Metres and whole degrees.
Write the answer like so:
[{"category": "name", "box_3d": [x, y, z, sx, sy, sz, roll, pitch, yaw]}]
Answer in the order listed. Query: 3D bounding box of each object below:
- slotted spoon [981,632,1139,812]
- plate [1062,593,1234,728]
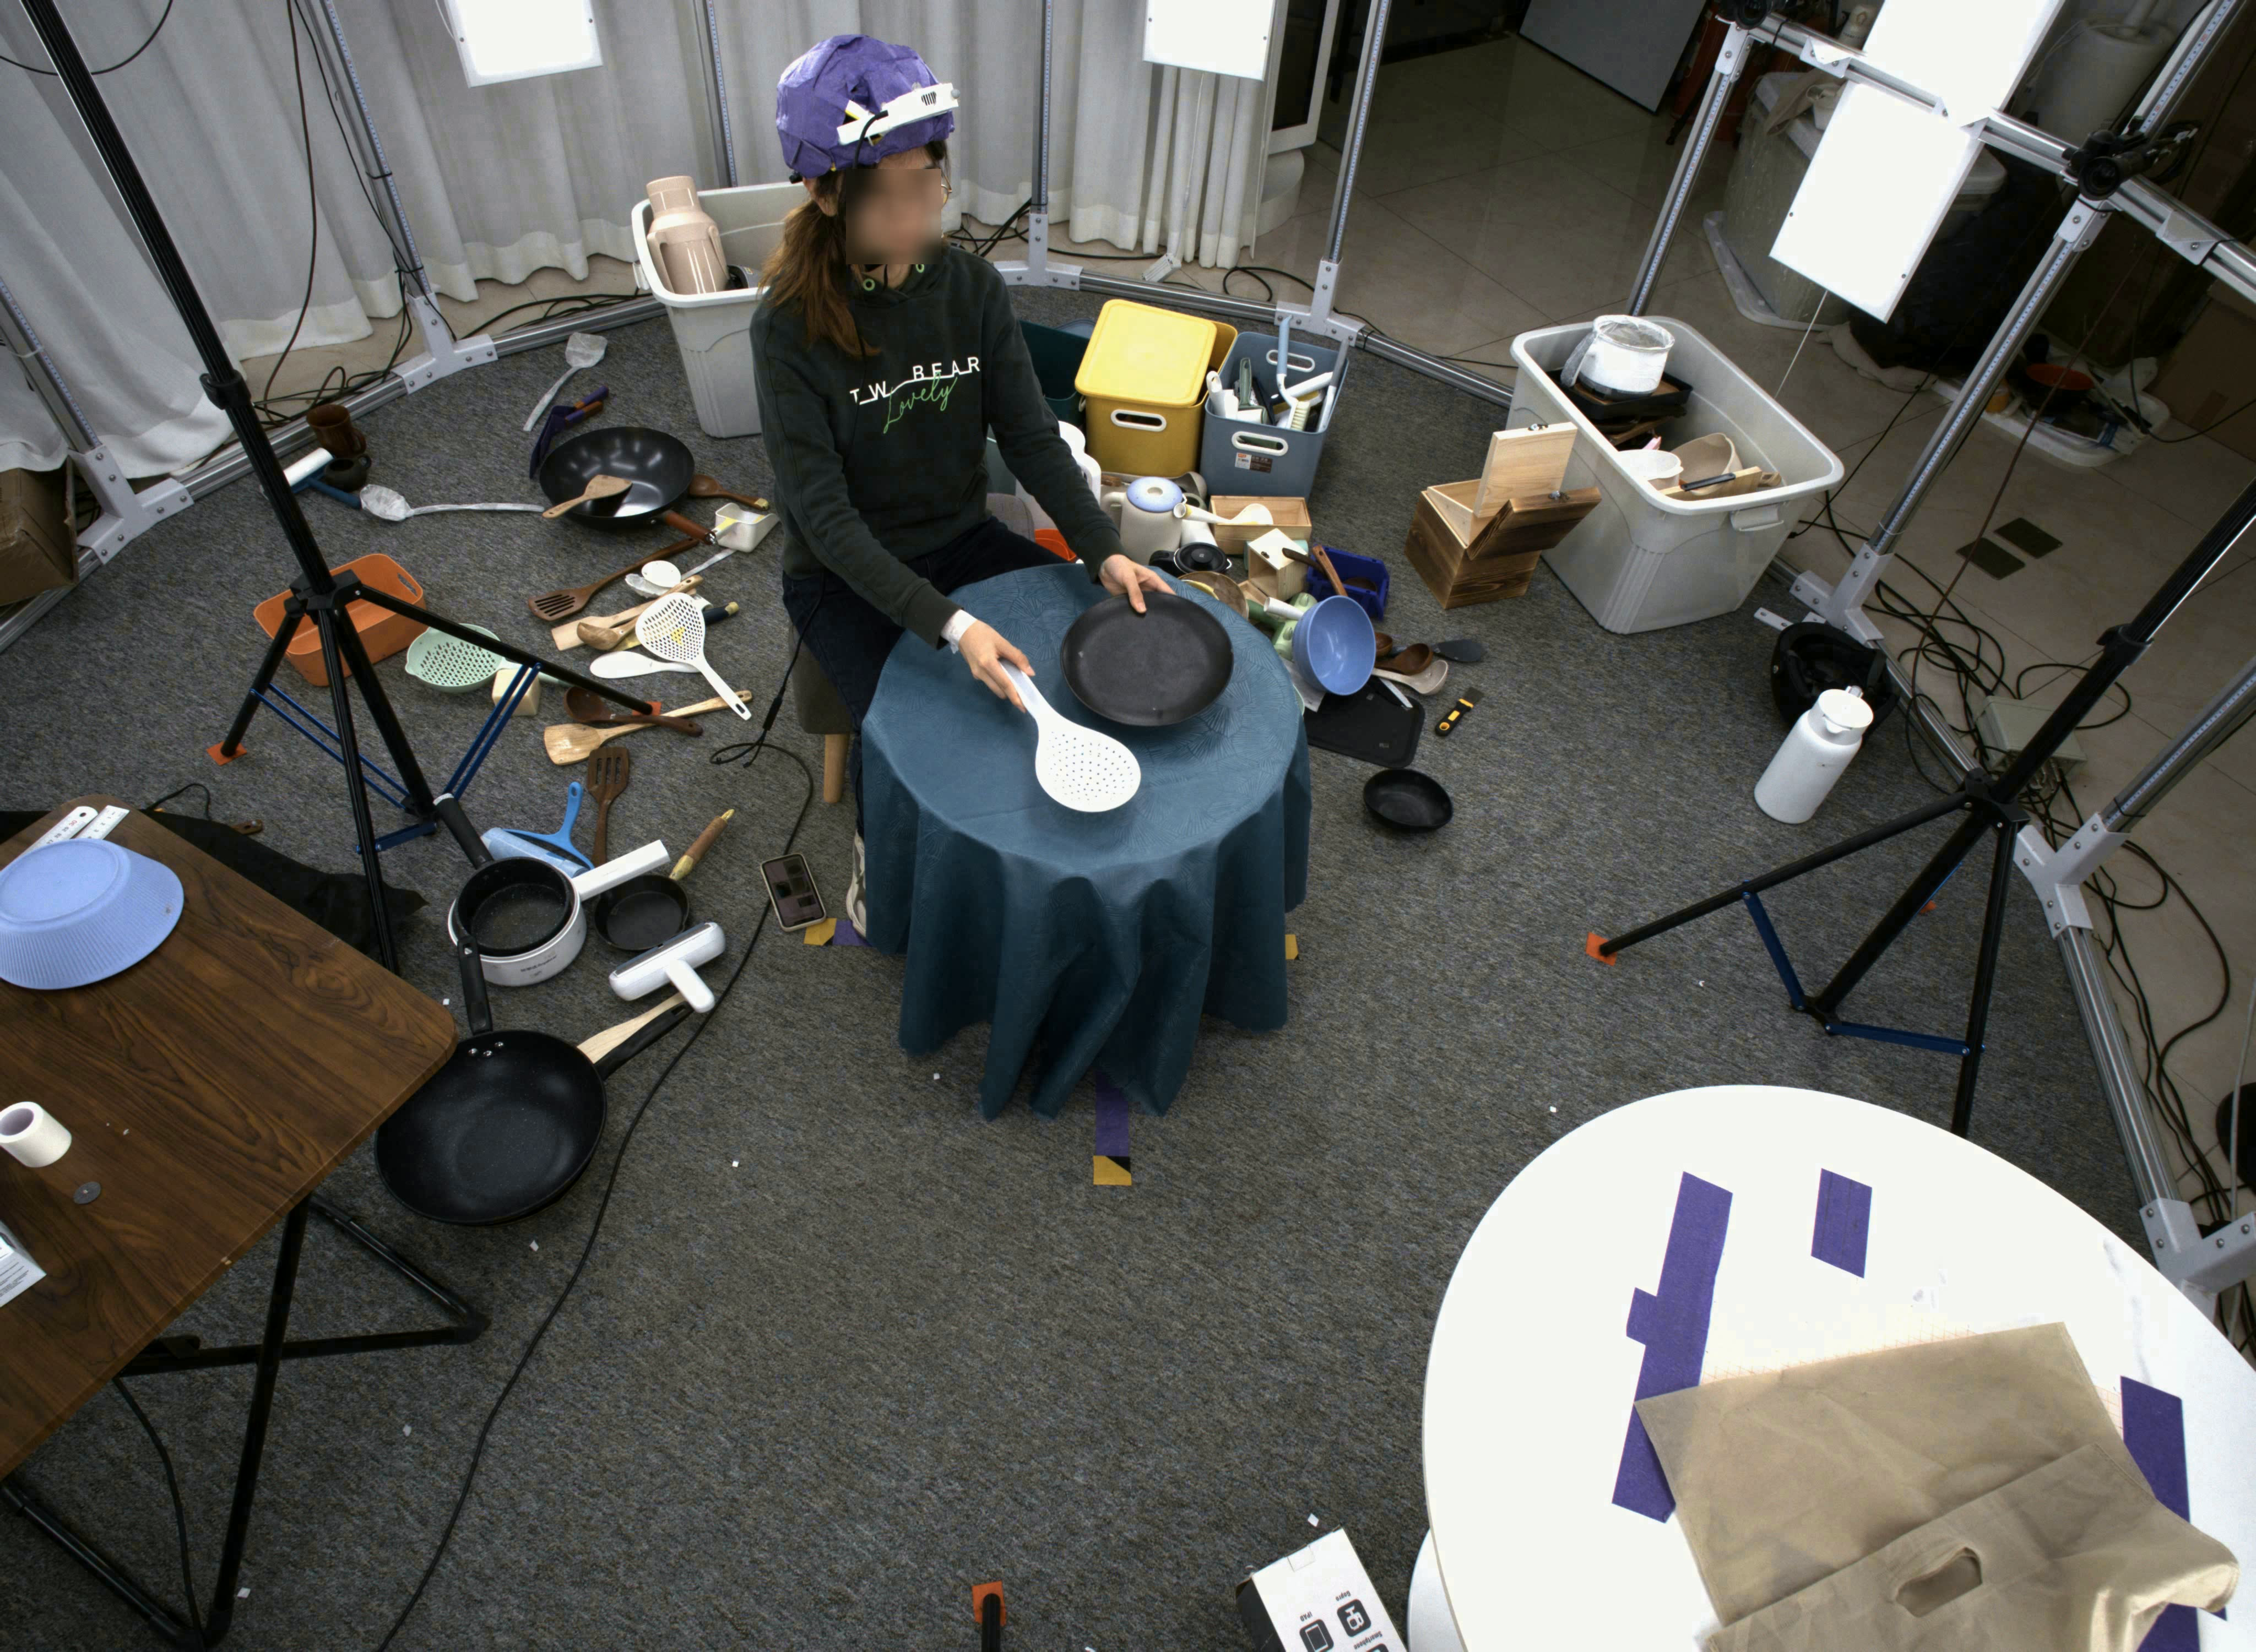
[{"category": "slotted spoon", "box_3d": [-0.109, -0.145, 1.737, 0.136, 0.045, 0.356, -20, 60, -26]}, {"category": "plate", "box_3d": [0.029, -0.233, 1.822, 0.244, 0.023, 0.250, -1, 56, 1]}]
